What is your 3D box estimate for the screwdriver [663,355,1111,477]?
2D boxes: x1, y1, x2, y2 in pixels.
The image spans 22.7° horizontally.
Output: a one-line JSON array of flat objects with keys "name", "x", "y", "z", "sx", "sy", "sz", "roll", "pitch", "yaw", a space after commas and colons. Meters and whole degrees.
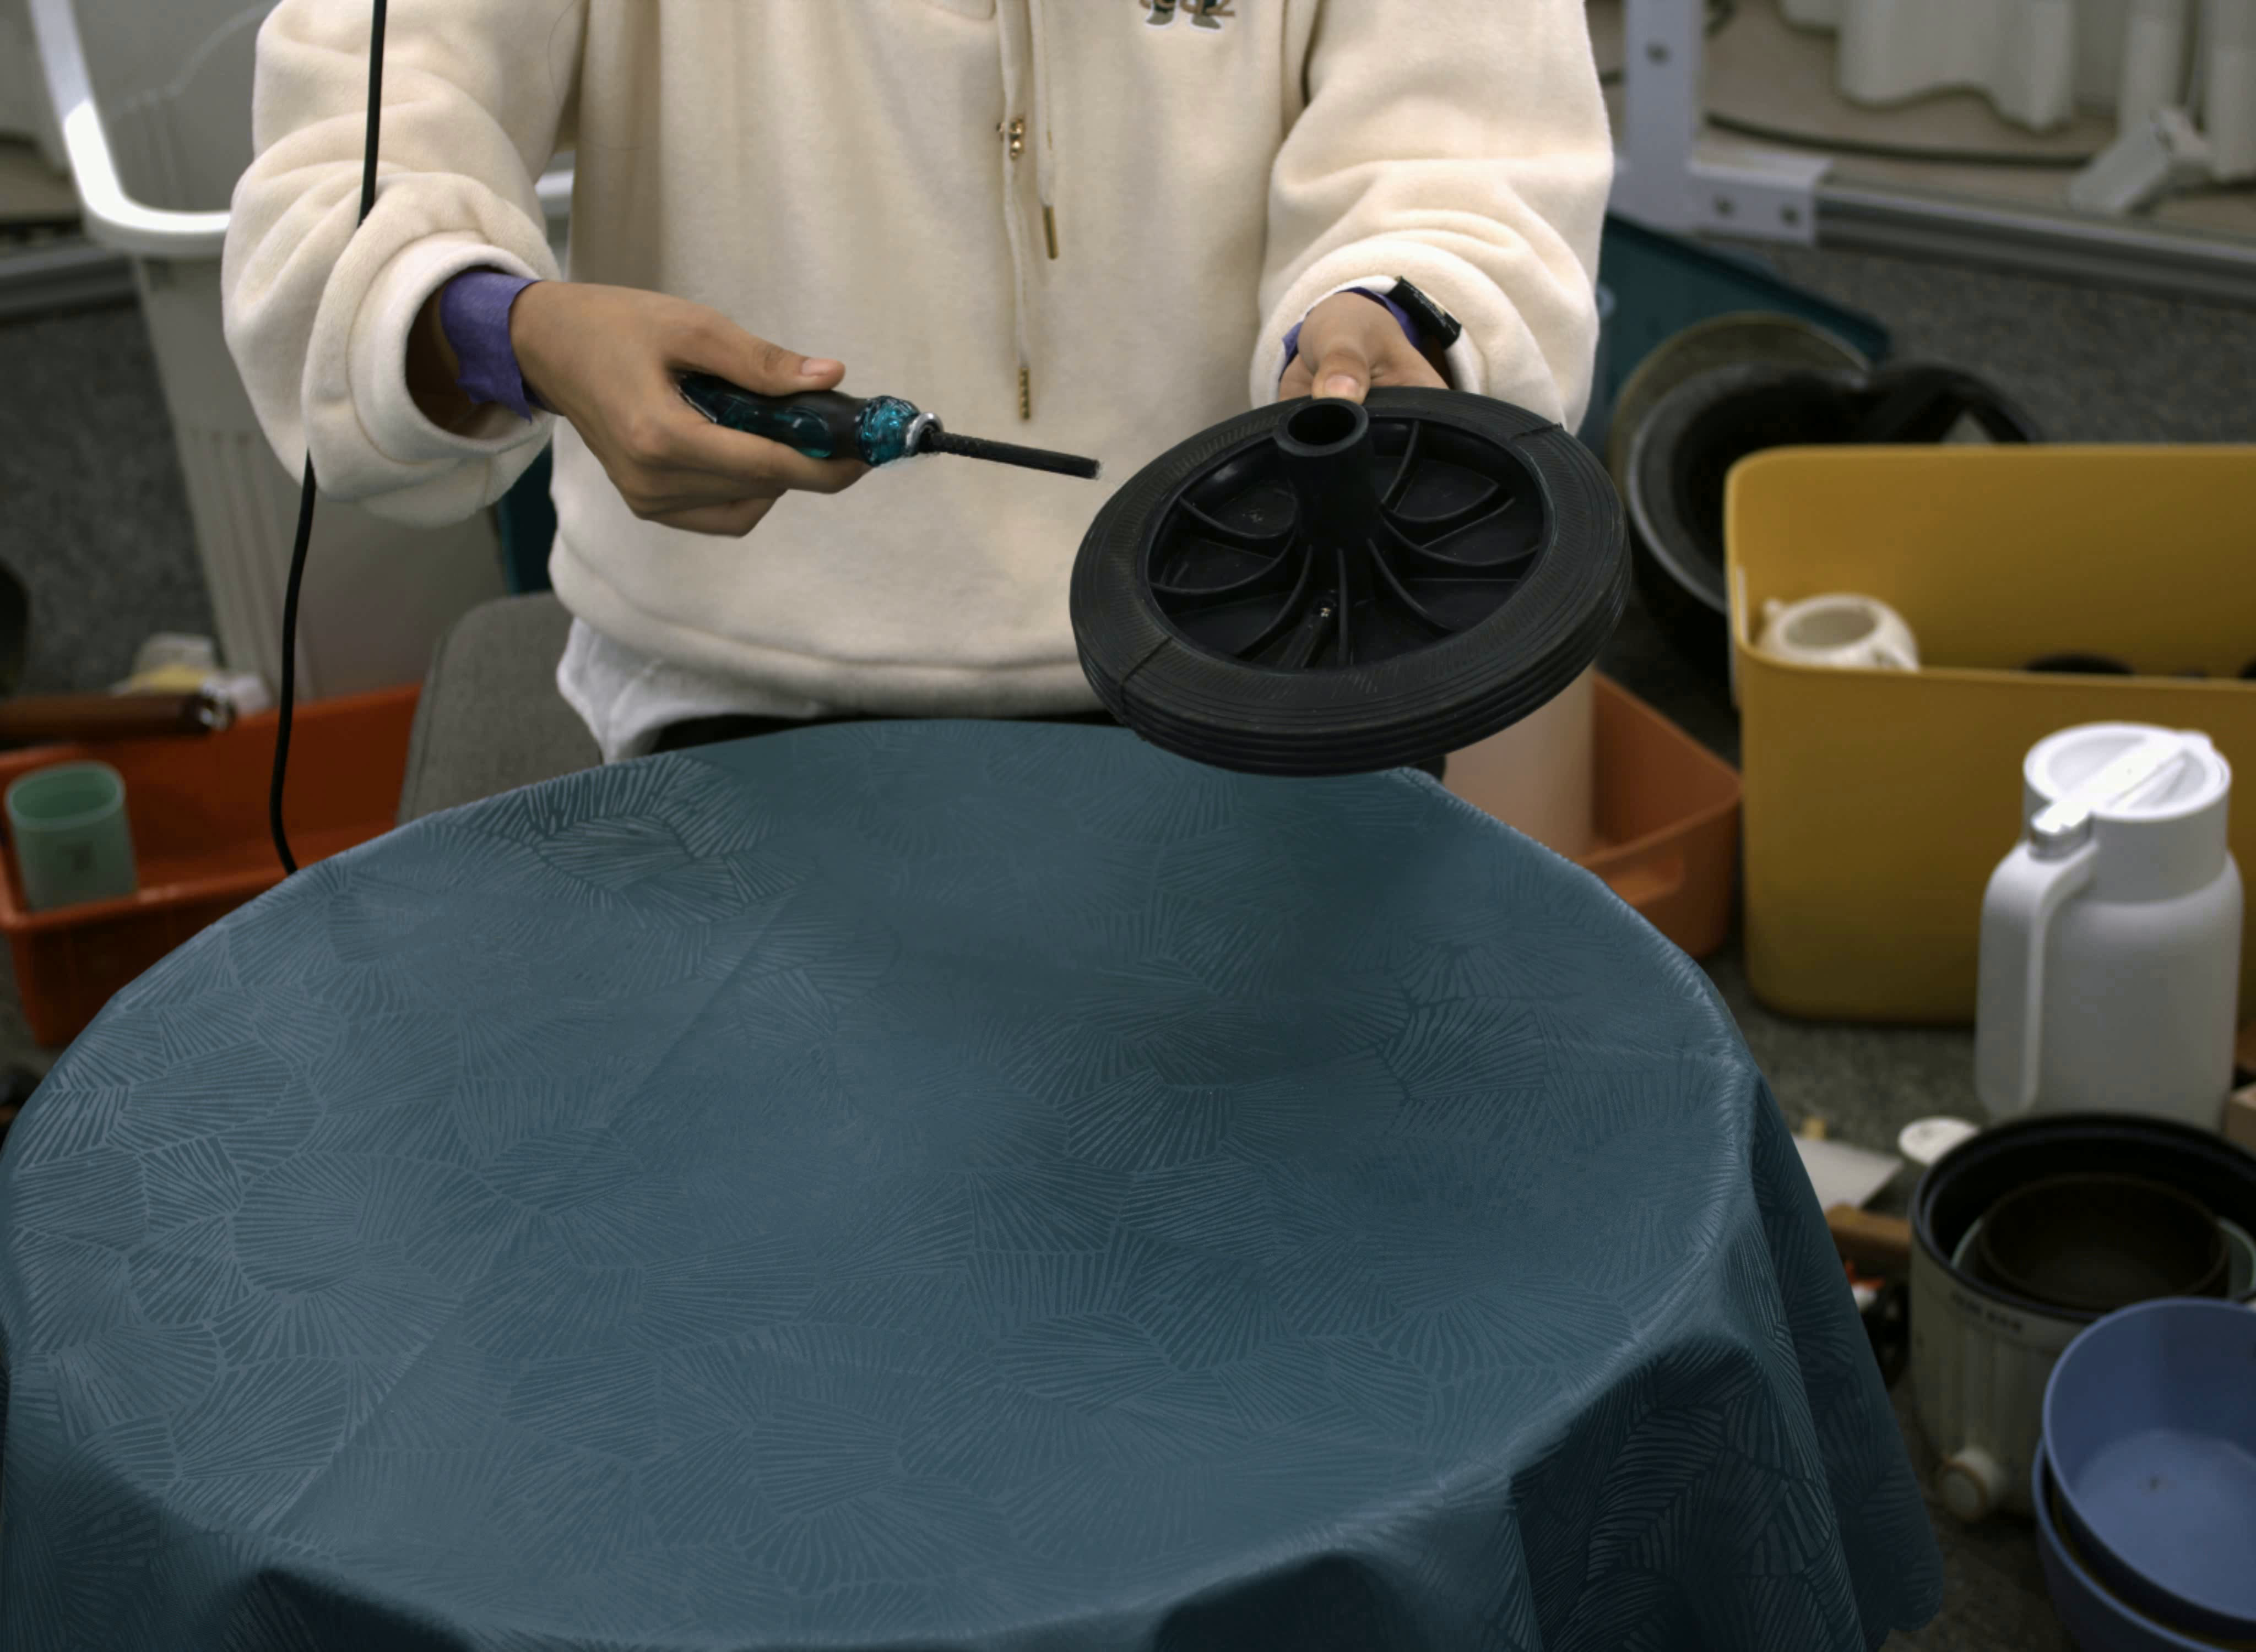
[{"name": "screwdriver", "x": -0.082, "y": -0.136, "z": 1.937, "sx": 0.189, "sy": 0.033, "sz": 0.034, "roll": 12, "pitch": 30, "yaw": 34}]

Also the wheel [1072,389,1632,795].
[{"name": "wheel", "x": 0.070, "y": -0.096, "z": 1.863, "sx": 0.186, "sy": 0.078, "sz": 0.193, "roll": -7, "pitch": 41, "yaw": 6}]
